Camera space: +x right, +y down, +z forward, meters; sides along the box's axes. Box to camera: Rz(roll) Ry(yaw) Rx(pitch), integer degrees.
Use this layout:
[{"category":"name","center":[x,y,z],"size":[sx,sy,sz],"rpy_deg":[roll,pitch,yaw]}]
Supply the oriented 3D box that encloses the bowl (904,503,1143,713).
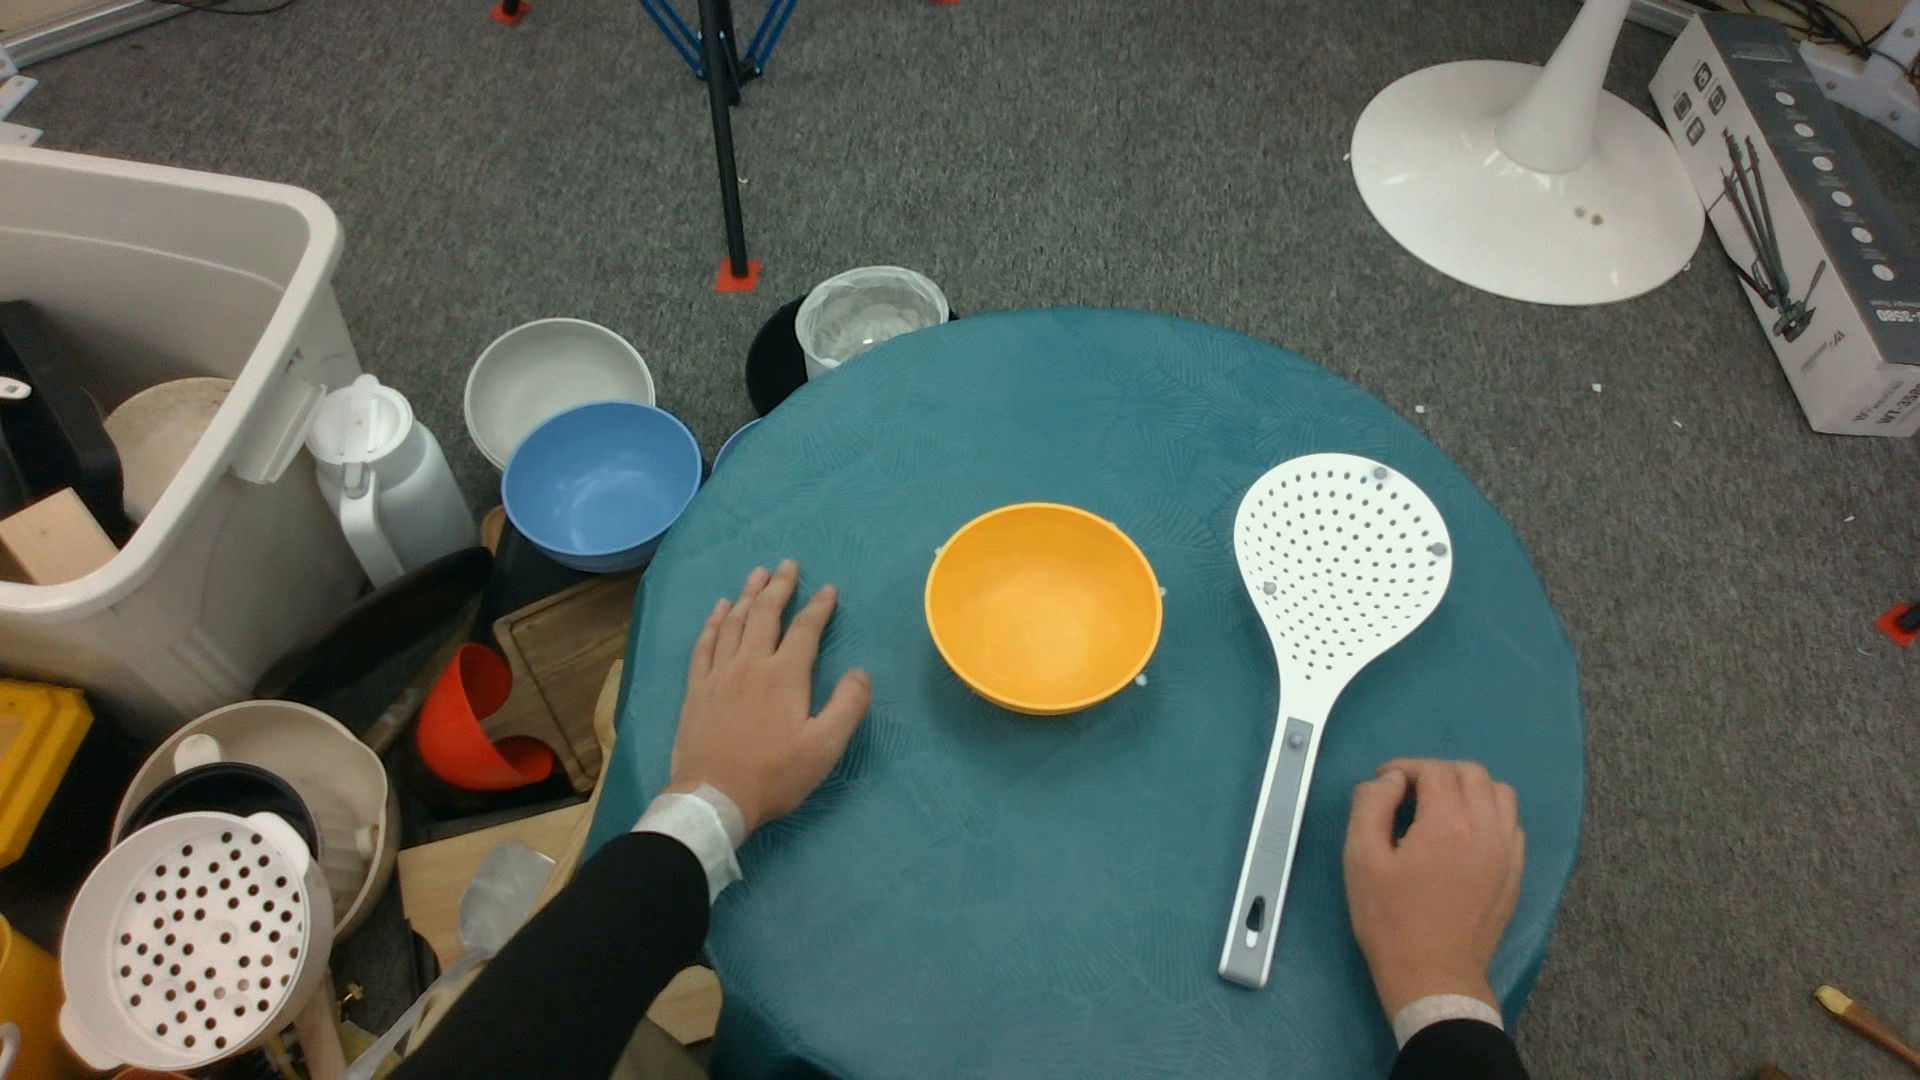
[{"category":"bowl","center":[0.038,0.051,0.854],"size":[0.145,0.060,0.146],"rpy_deg":[1,56,-1]}]

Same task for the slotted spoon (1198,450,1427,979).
[{"category":"slotted spoon","center":[0.199,0.094,0.842],"size":[0.136,0.045,0.351],"rpy_deg":[16,58,8]}]
